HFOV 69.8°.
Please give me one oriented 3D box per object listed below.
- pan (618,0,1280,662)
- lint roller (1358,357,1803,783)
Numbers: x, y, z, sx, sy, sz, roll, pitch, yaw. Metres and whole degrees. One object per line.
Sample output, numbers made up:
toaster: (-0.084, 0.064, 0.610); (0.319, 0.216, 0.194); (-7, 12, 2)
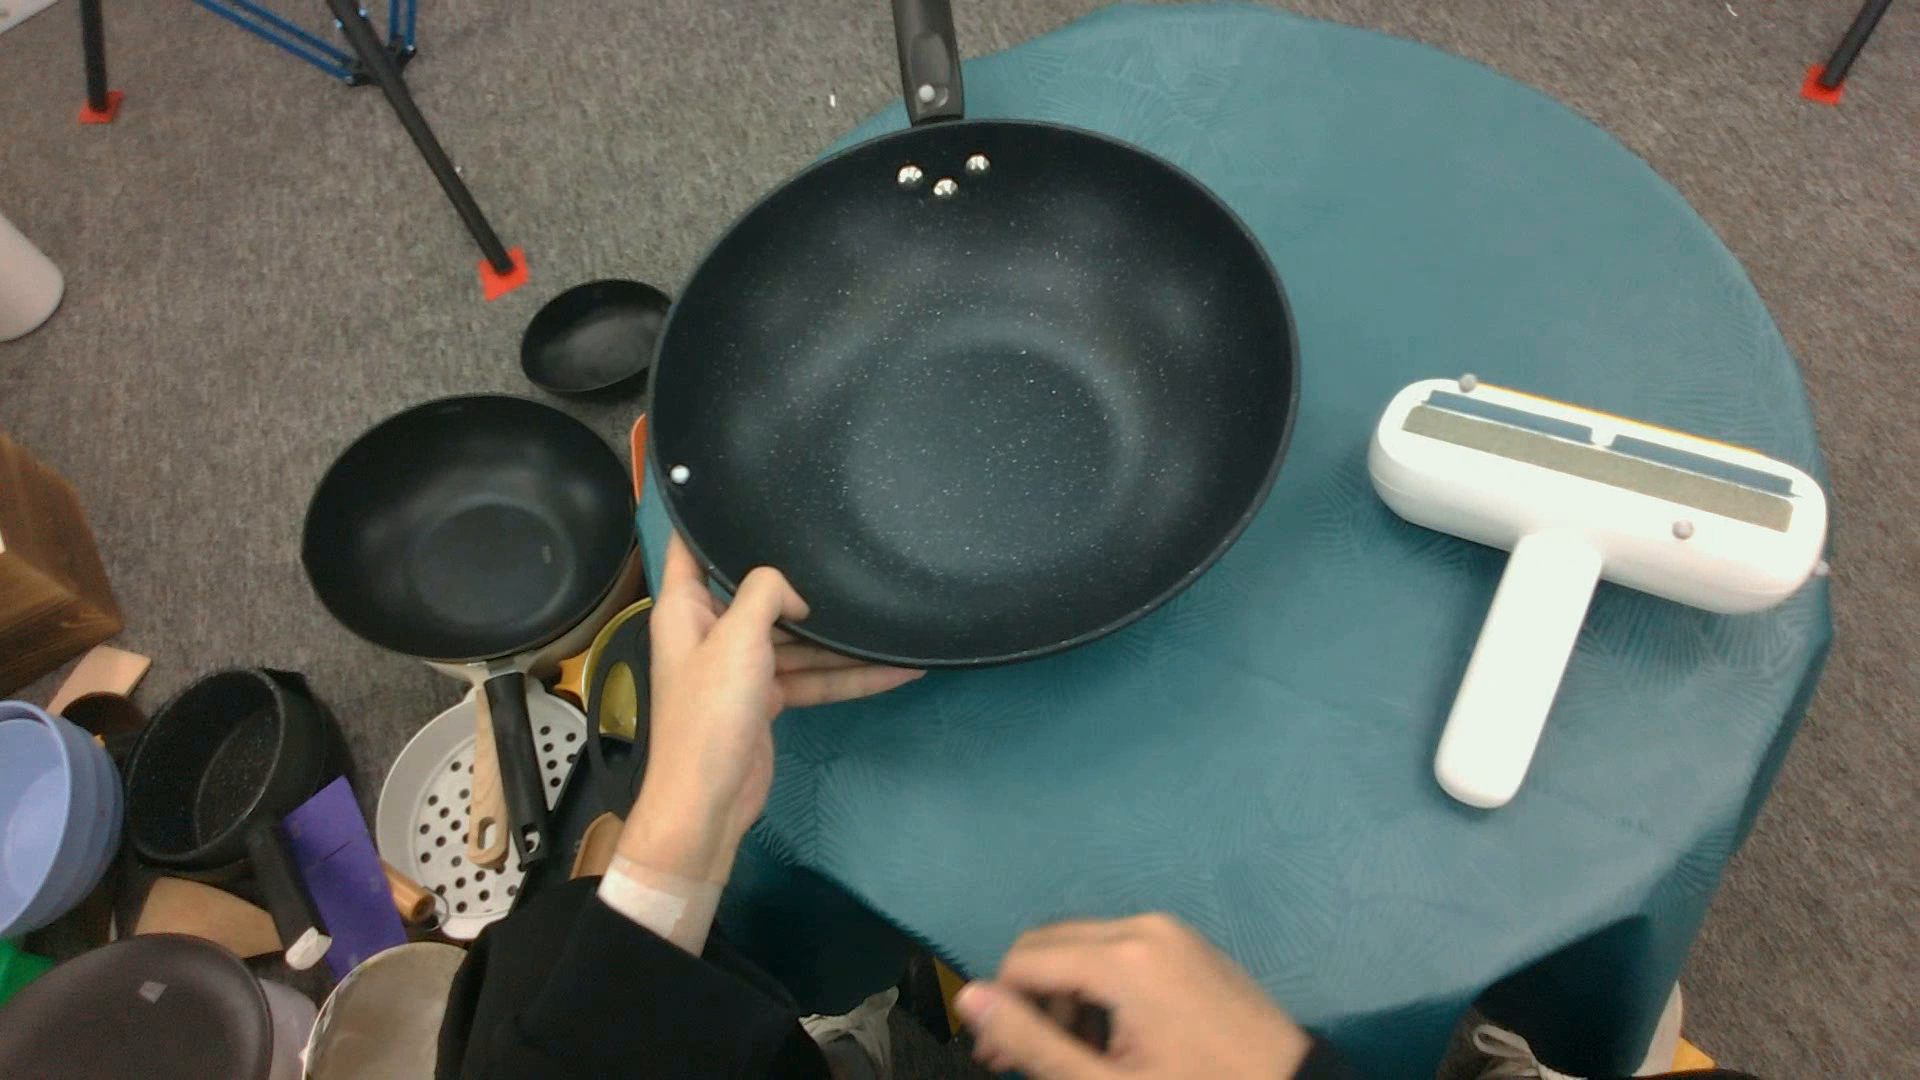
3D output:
pan: (-0.015, -0.148, 0.709); (0.310, 0.111, 0.478); (-8, 63, -1)
lint roller: (0.252, 0.018, 0.625); (0.193, 0.074, 0.193); (25, 69, 22)
